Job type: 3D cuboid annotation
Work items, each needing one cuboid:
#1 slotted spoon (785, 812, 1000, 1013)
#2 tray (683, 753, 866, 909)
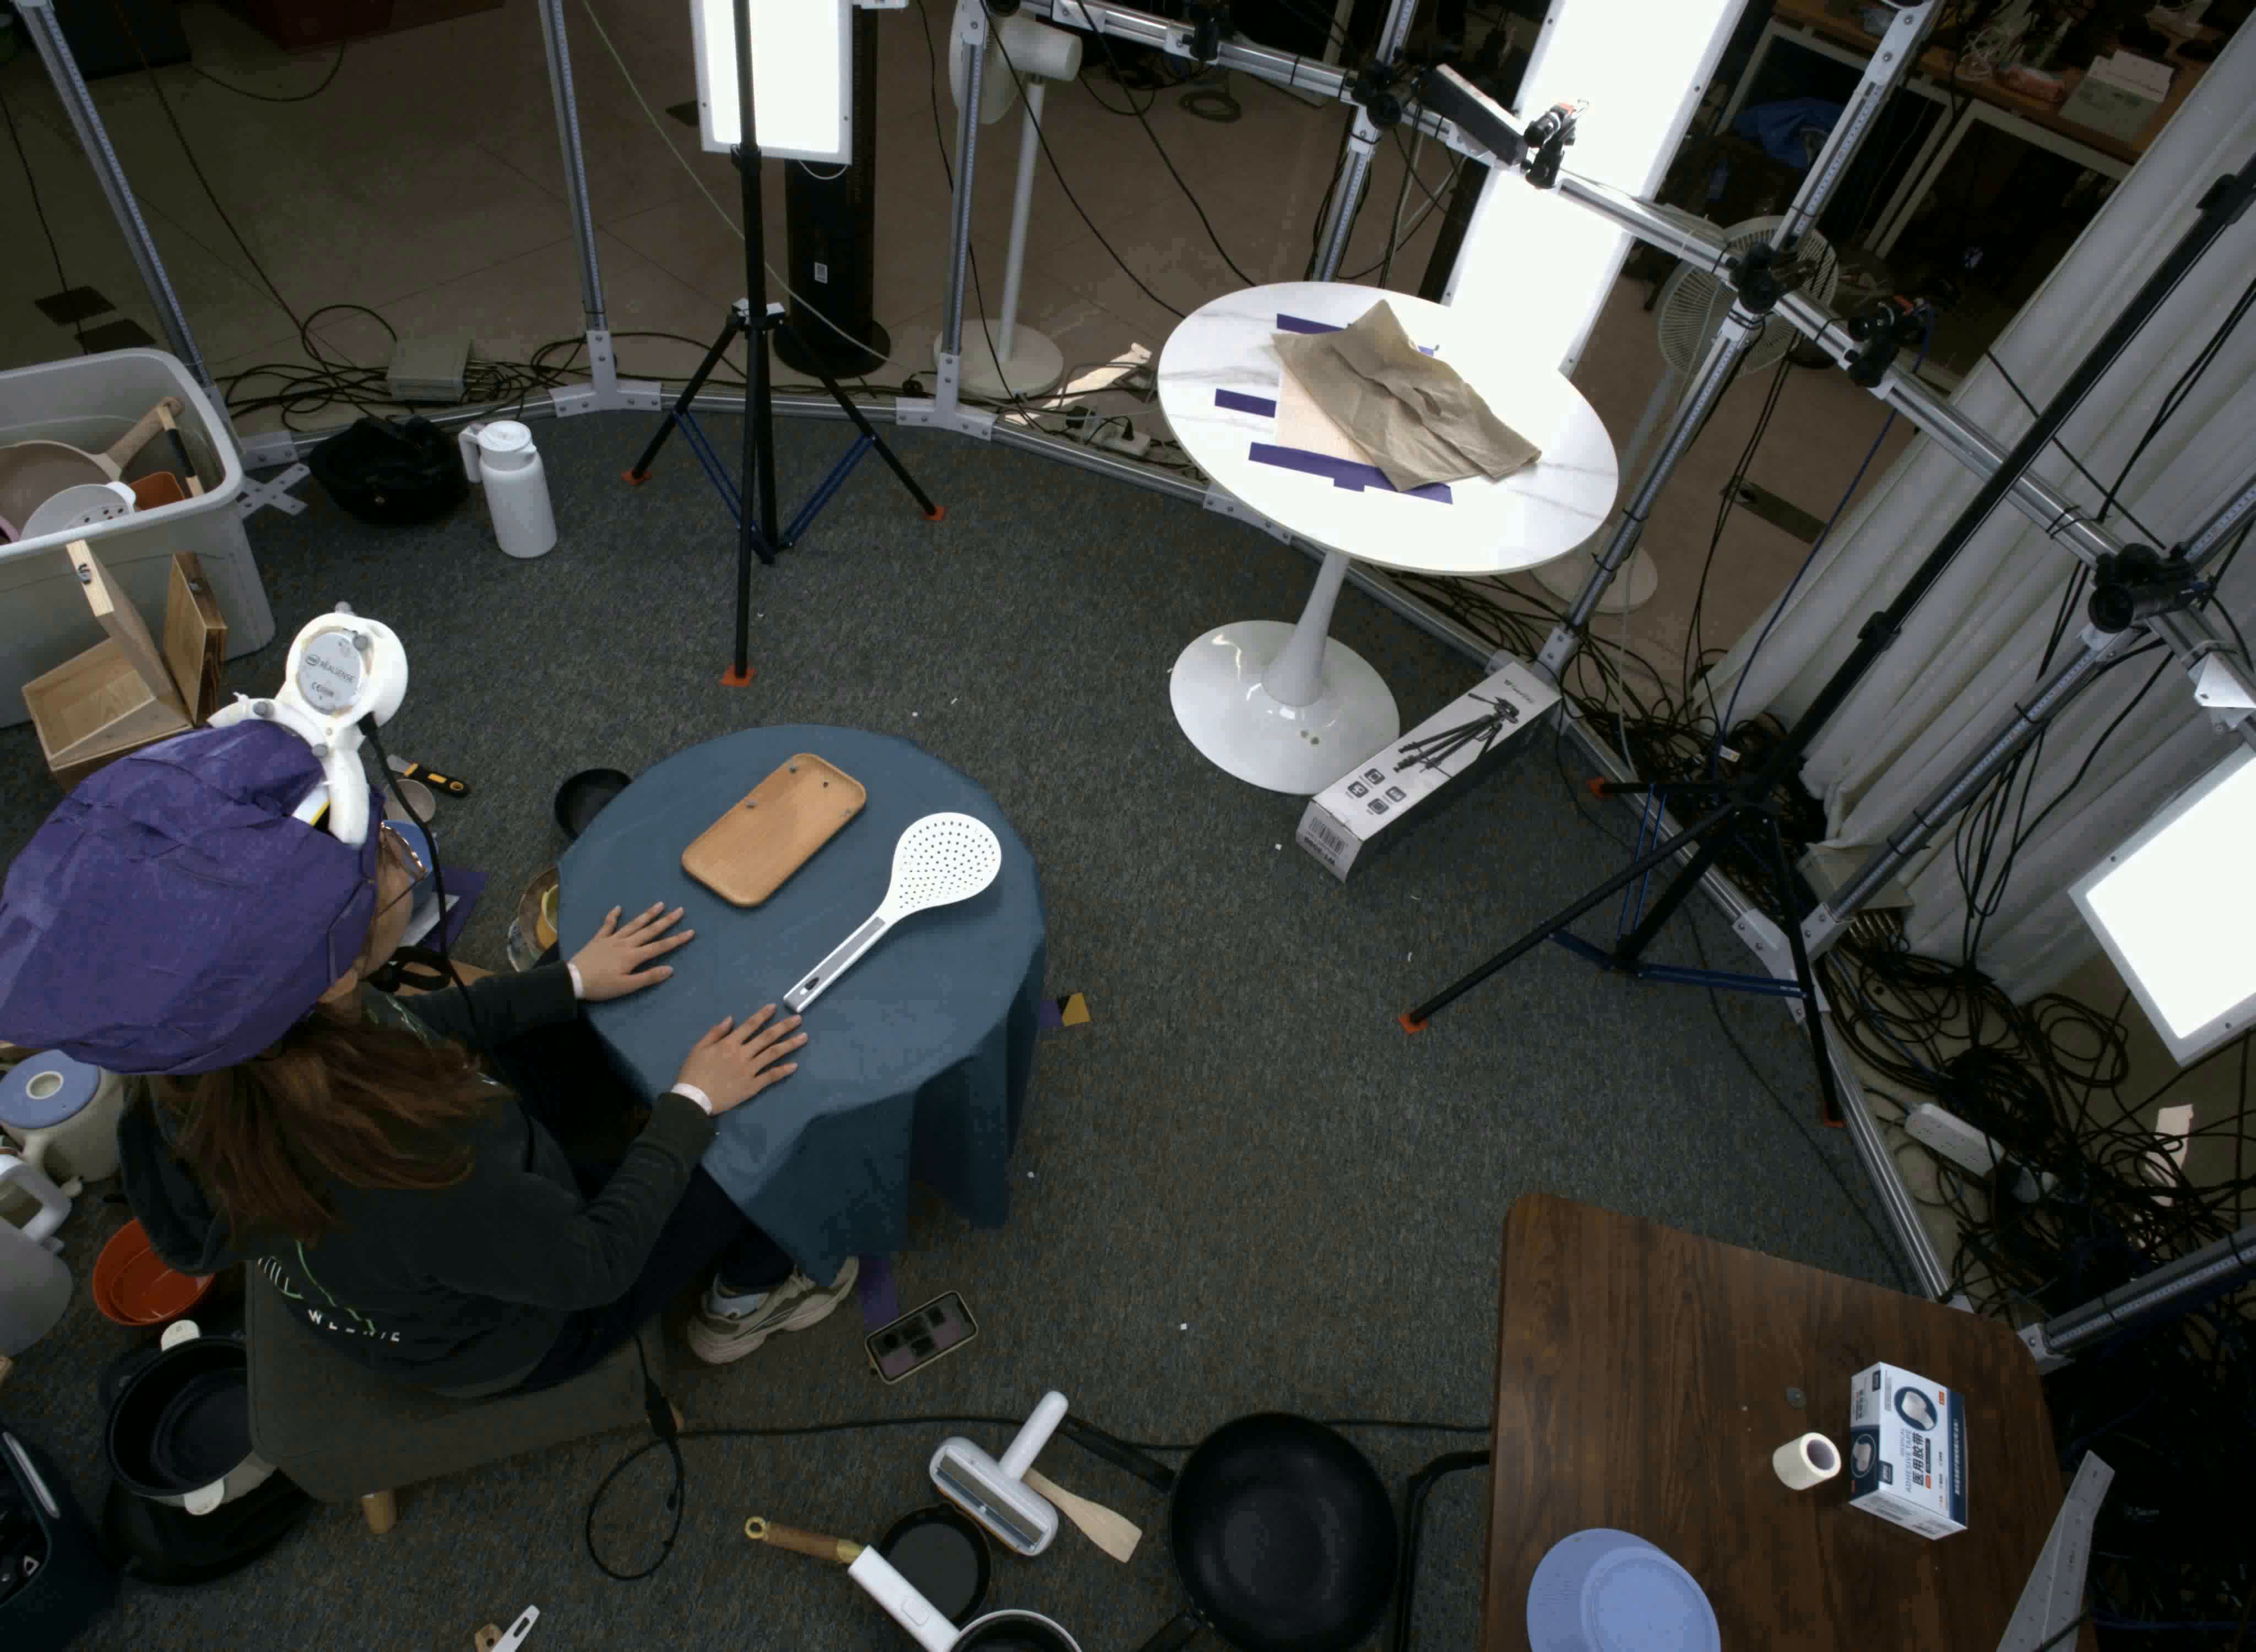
[{"bbox_3d":[-0.301,0.108,1.651,0.133,0.047,0.349,35,54,16],"label":"slotted spoon"},{"bbox_3d":[-0.463,0.003,1.706,0.128,0.023,0.250,31,53,12],"label":"tray"}]
